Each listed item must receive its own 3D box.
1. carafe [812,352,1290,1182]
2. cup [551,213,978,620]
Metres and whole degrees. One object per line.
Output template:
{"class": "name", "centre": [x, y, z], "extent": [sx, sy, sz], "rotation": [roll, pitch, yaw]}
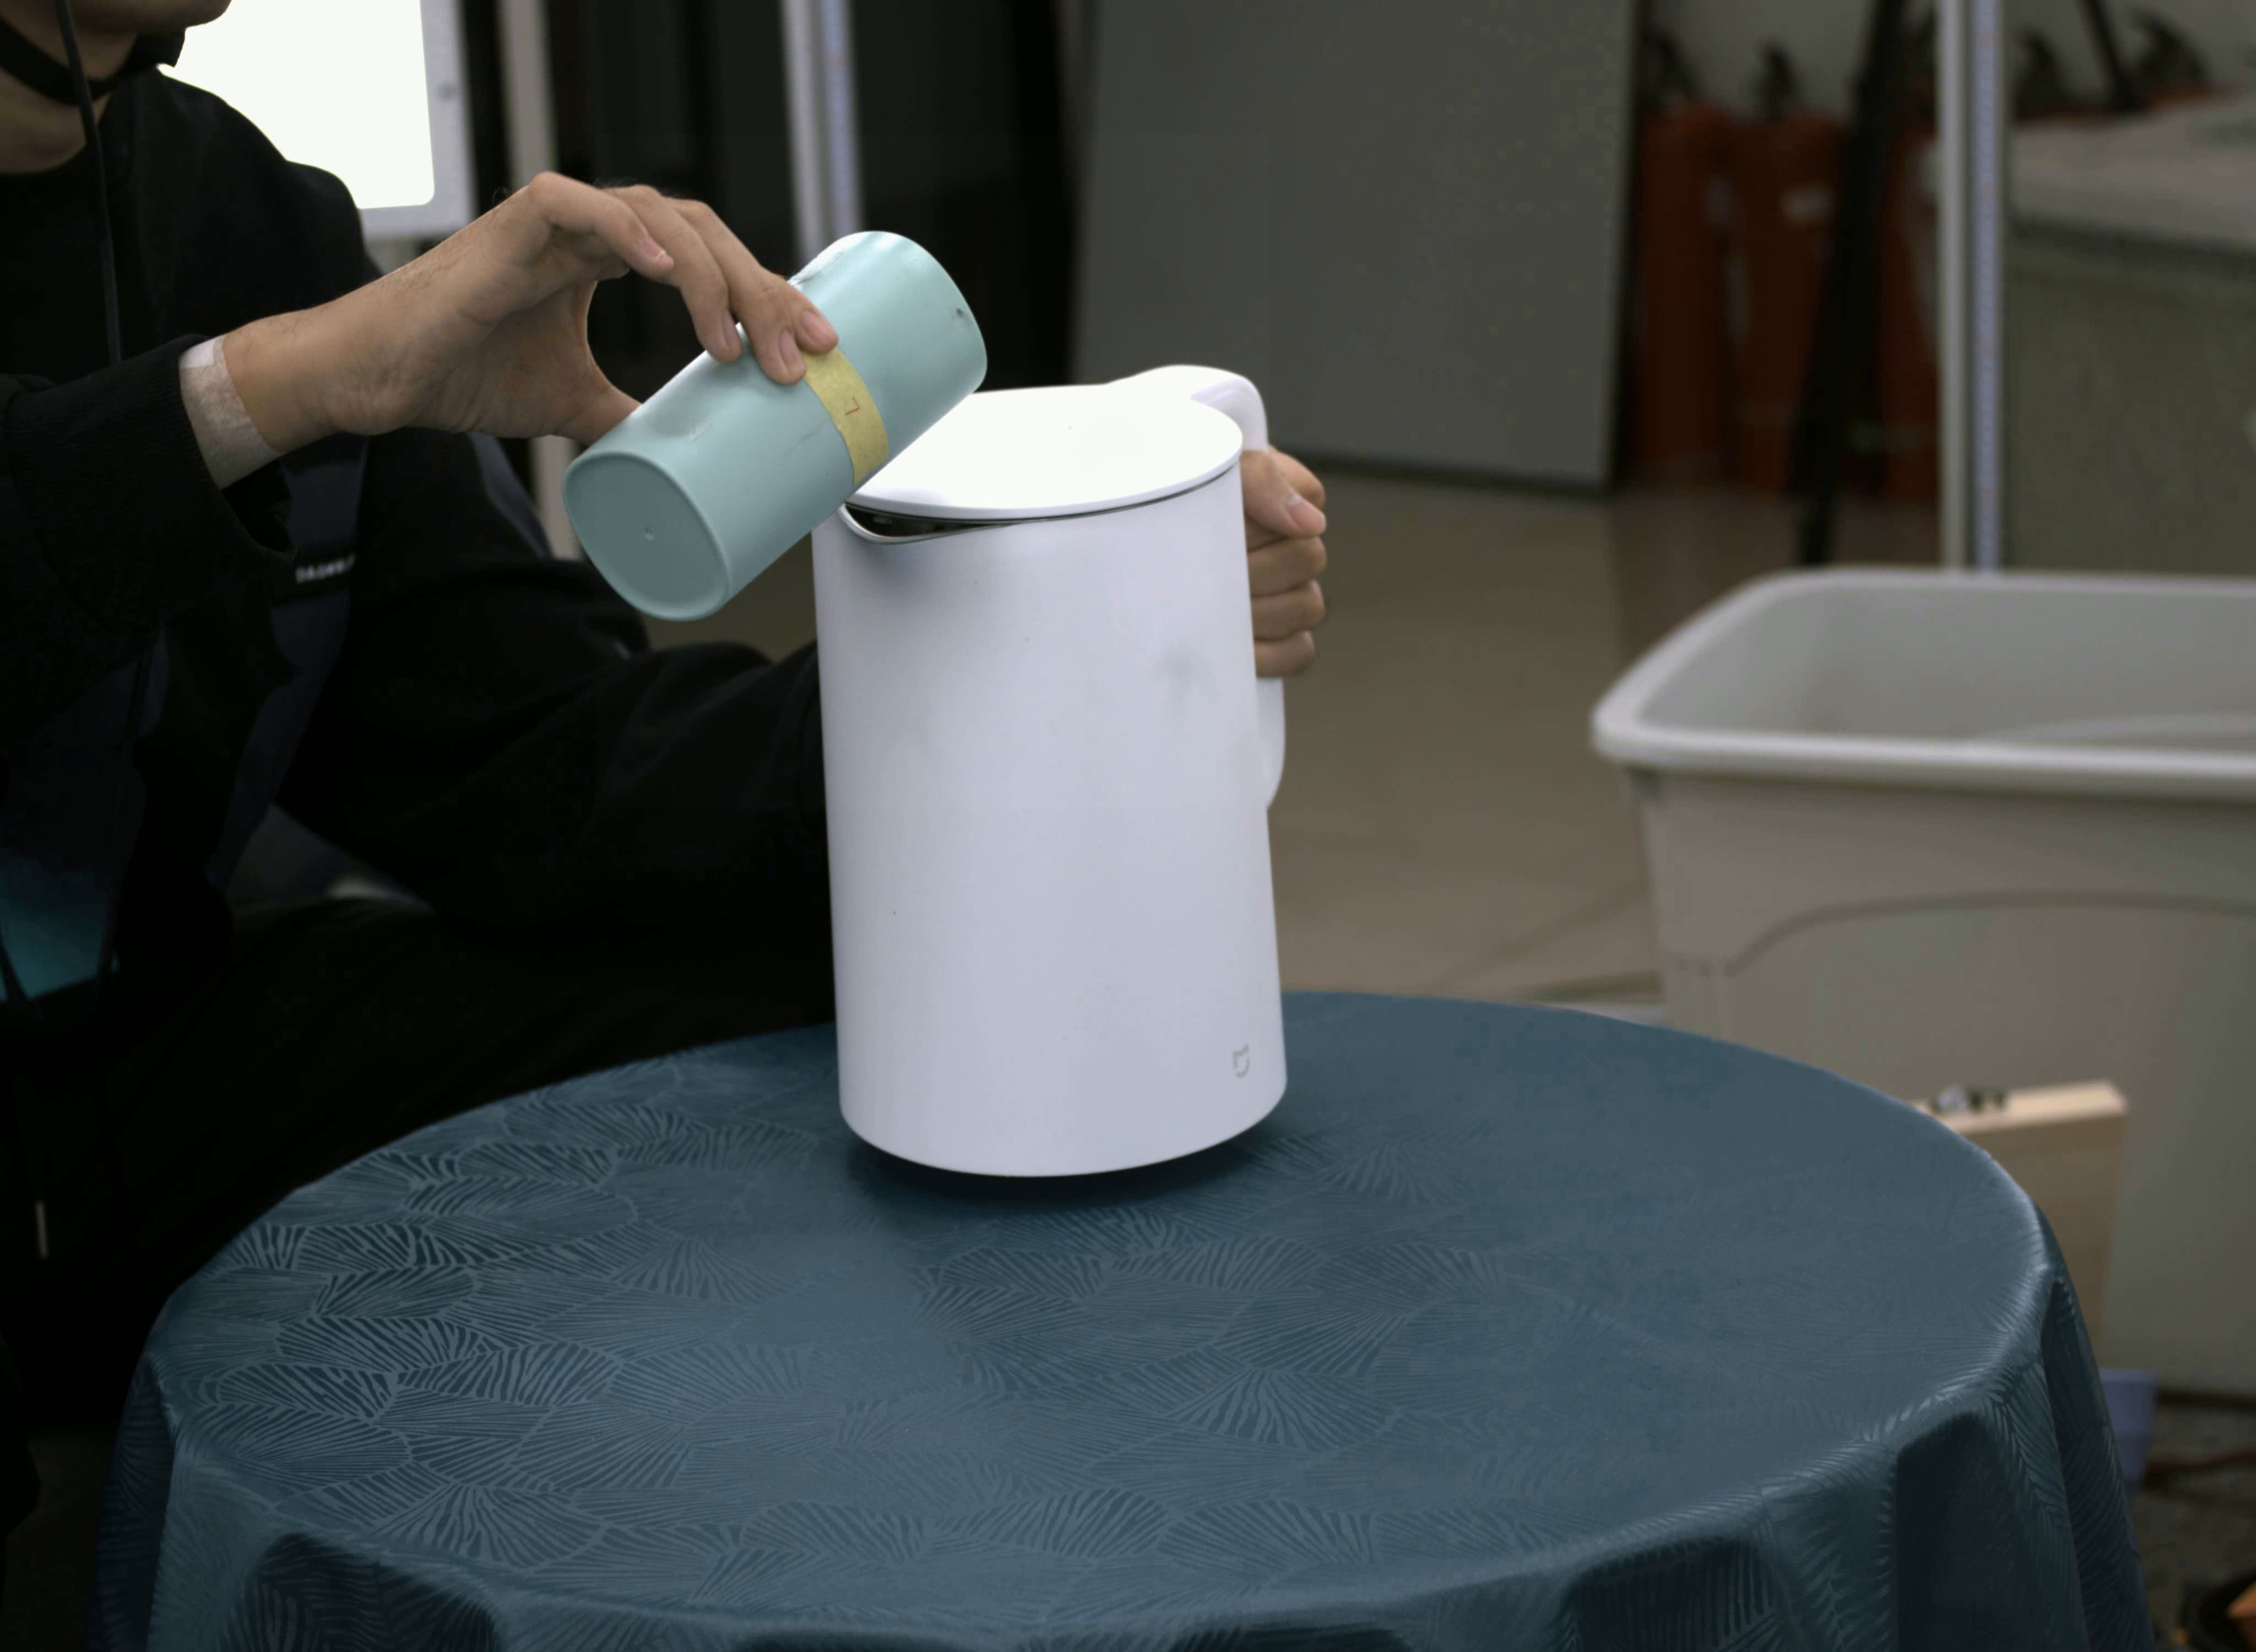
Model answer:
{"class": "carafe", "centre": [-0.012, -0.026, 1.807], "extent": [0.153, 0.242, 0.210], "rotation": [10, 24, 33]}
{"class": "cup", "centre": [-0.110, -0.125, 1.647], "extent": [0.067, 0.067, 0.131], "rotation": [8, 41, 40]}
